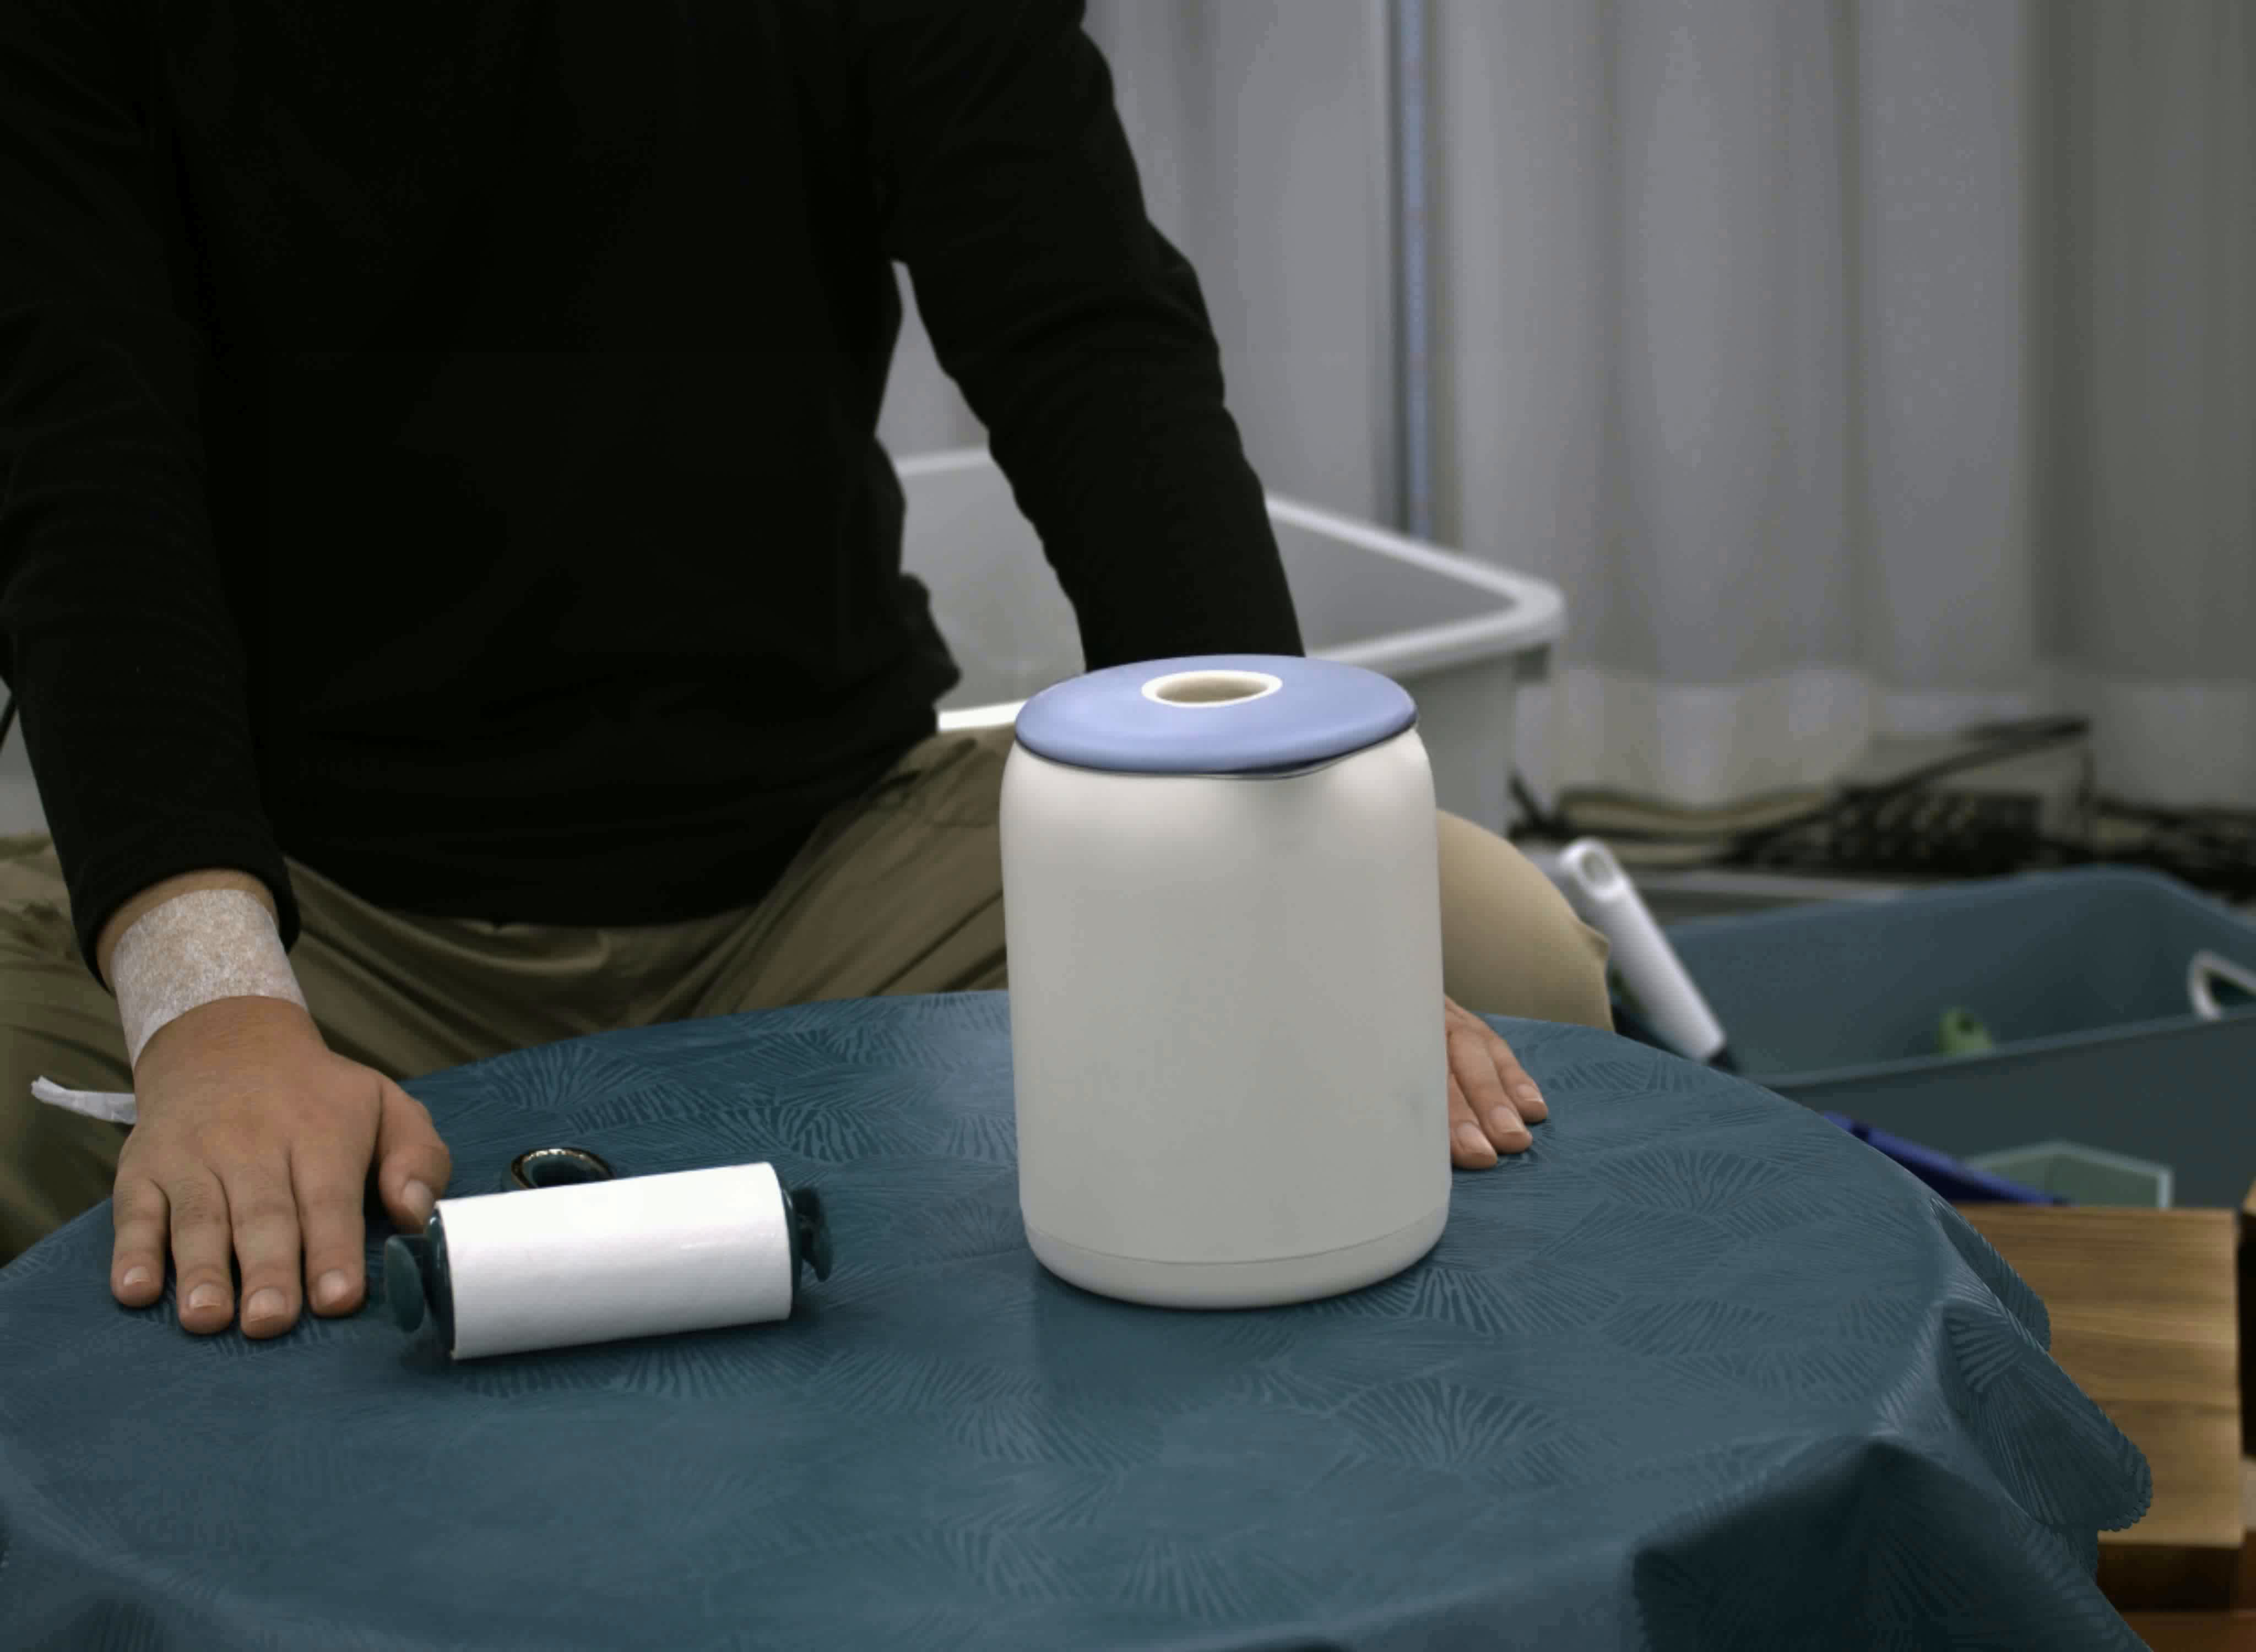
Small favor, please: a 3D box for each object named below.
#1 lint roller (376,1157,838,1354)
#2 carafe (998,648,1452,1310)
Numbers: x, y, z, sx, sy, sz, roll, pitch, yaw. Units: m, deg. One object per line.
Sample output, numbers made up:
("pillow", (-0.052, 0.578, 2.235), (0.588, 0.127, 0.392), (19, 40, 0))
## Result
("lint roller", (-0.168, 0.114, 1.669), (0.134, 0.048, 0.181), (-6, 12, -12))
("carafe", (0.021, 0.039, 1.662), (0.131, 0.182, 0.192), (-7, 12, -18))
